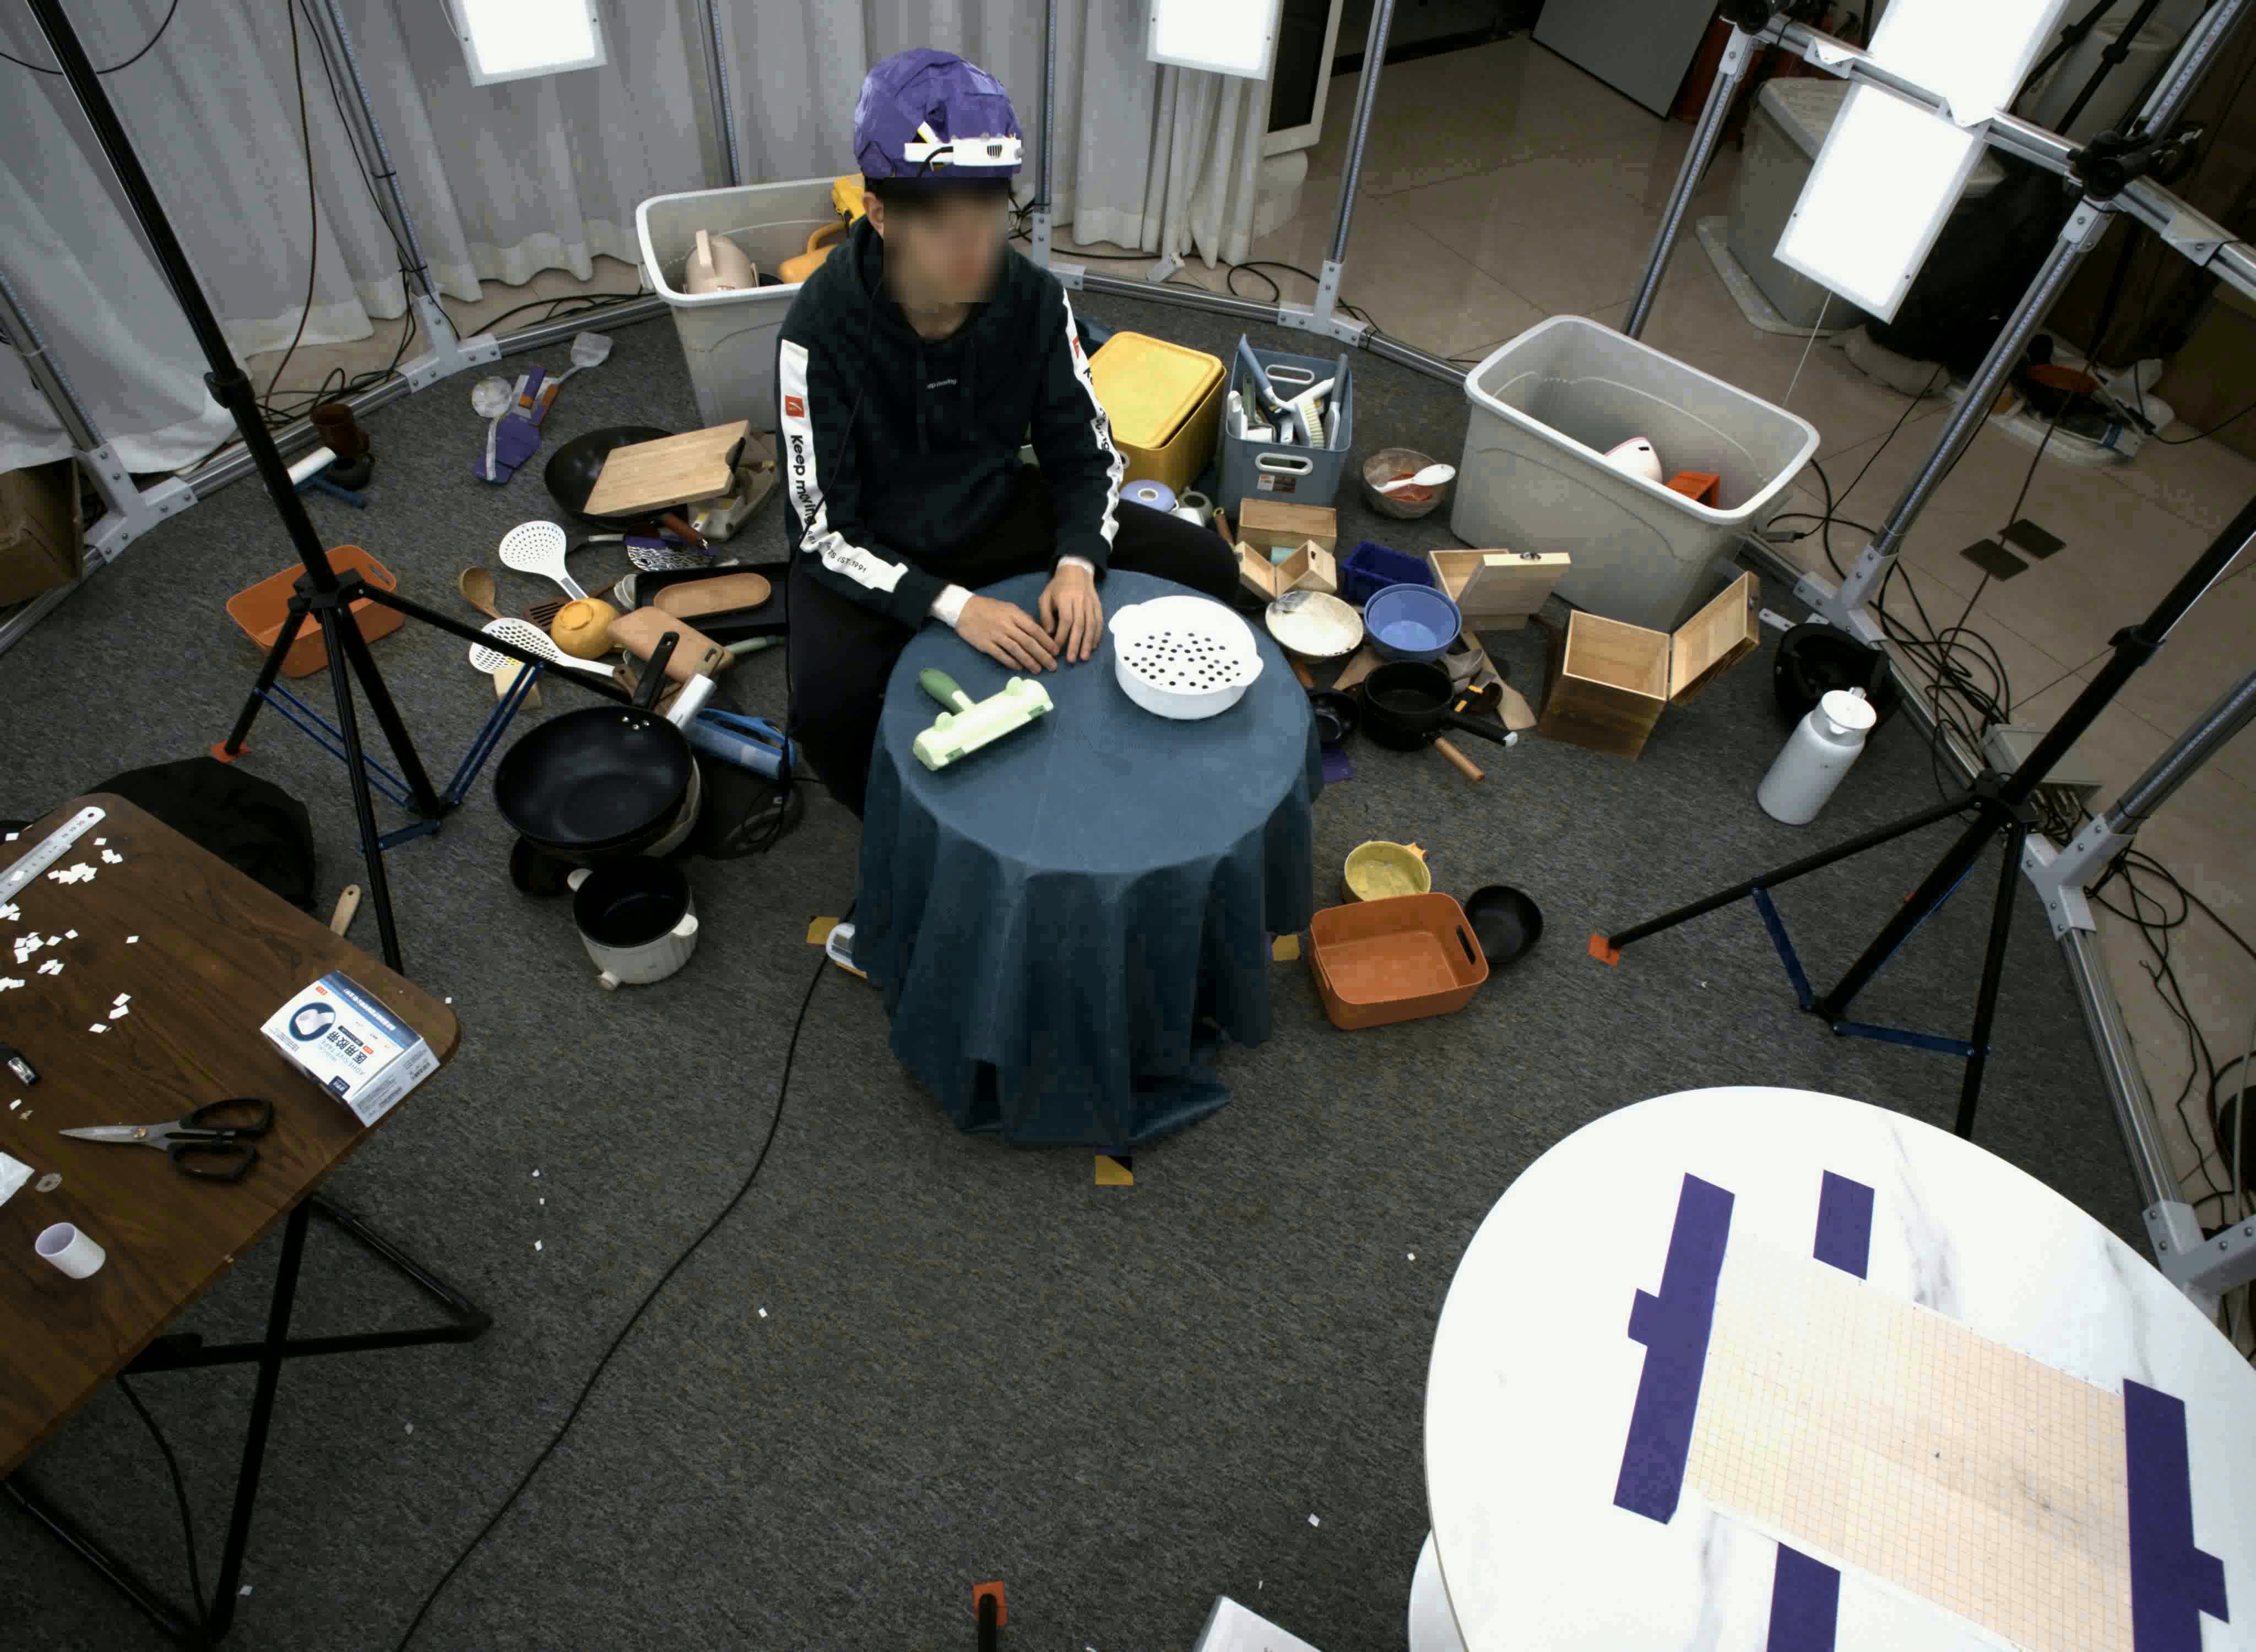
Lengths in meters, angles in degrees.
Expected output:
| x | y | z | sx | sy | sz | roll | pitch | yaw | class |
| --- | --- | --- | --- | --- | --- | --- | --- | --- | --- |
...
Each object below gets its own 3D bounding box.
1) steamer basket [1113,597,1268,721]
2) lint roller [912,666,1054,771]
| x | y | z | sx | sy | sz | roll | pitch | yaw | class |
| --- | --- | --- | --- | --- | --- | --- | --- | --- | --- |
| 0.085 | -0.238 | 1.835 | 0.232 | 0.067 | 0.205 | 25 | 53 | 16 | steamer basket |
| -0.230 | -0.179 | 1.759 | 0.200 | 0.080 | 0.186 | -30 | 61 | -26 | lint roller |
